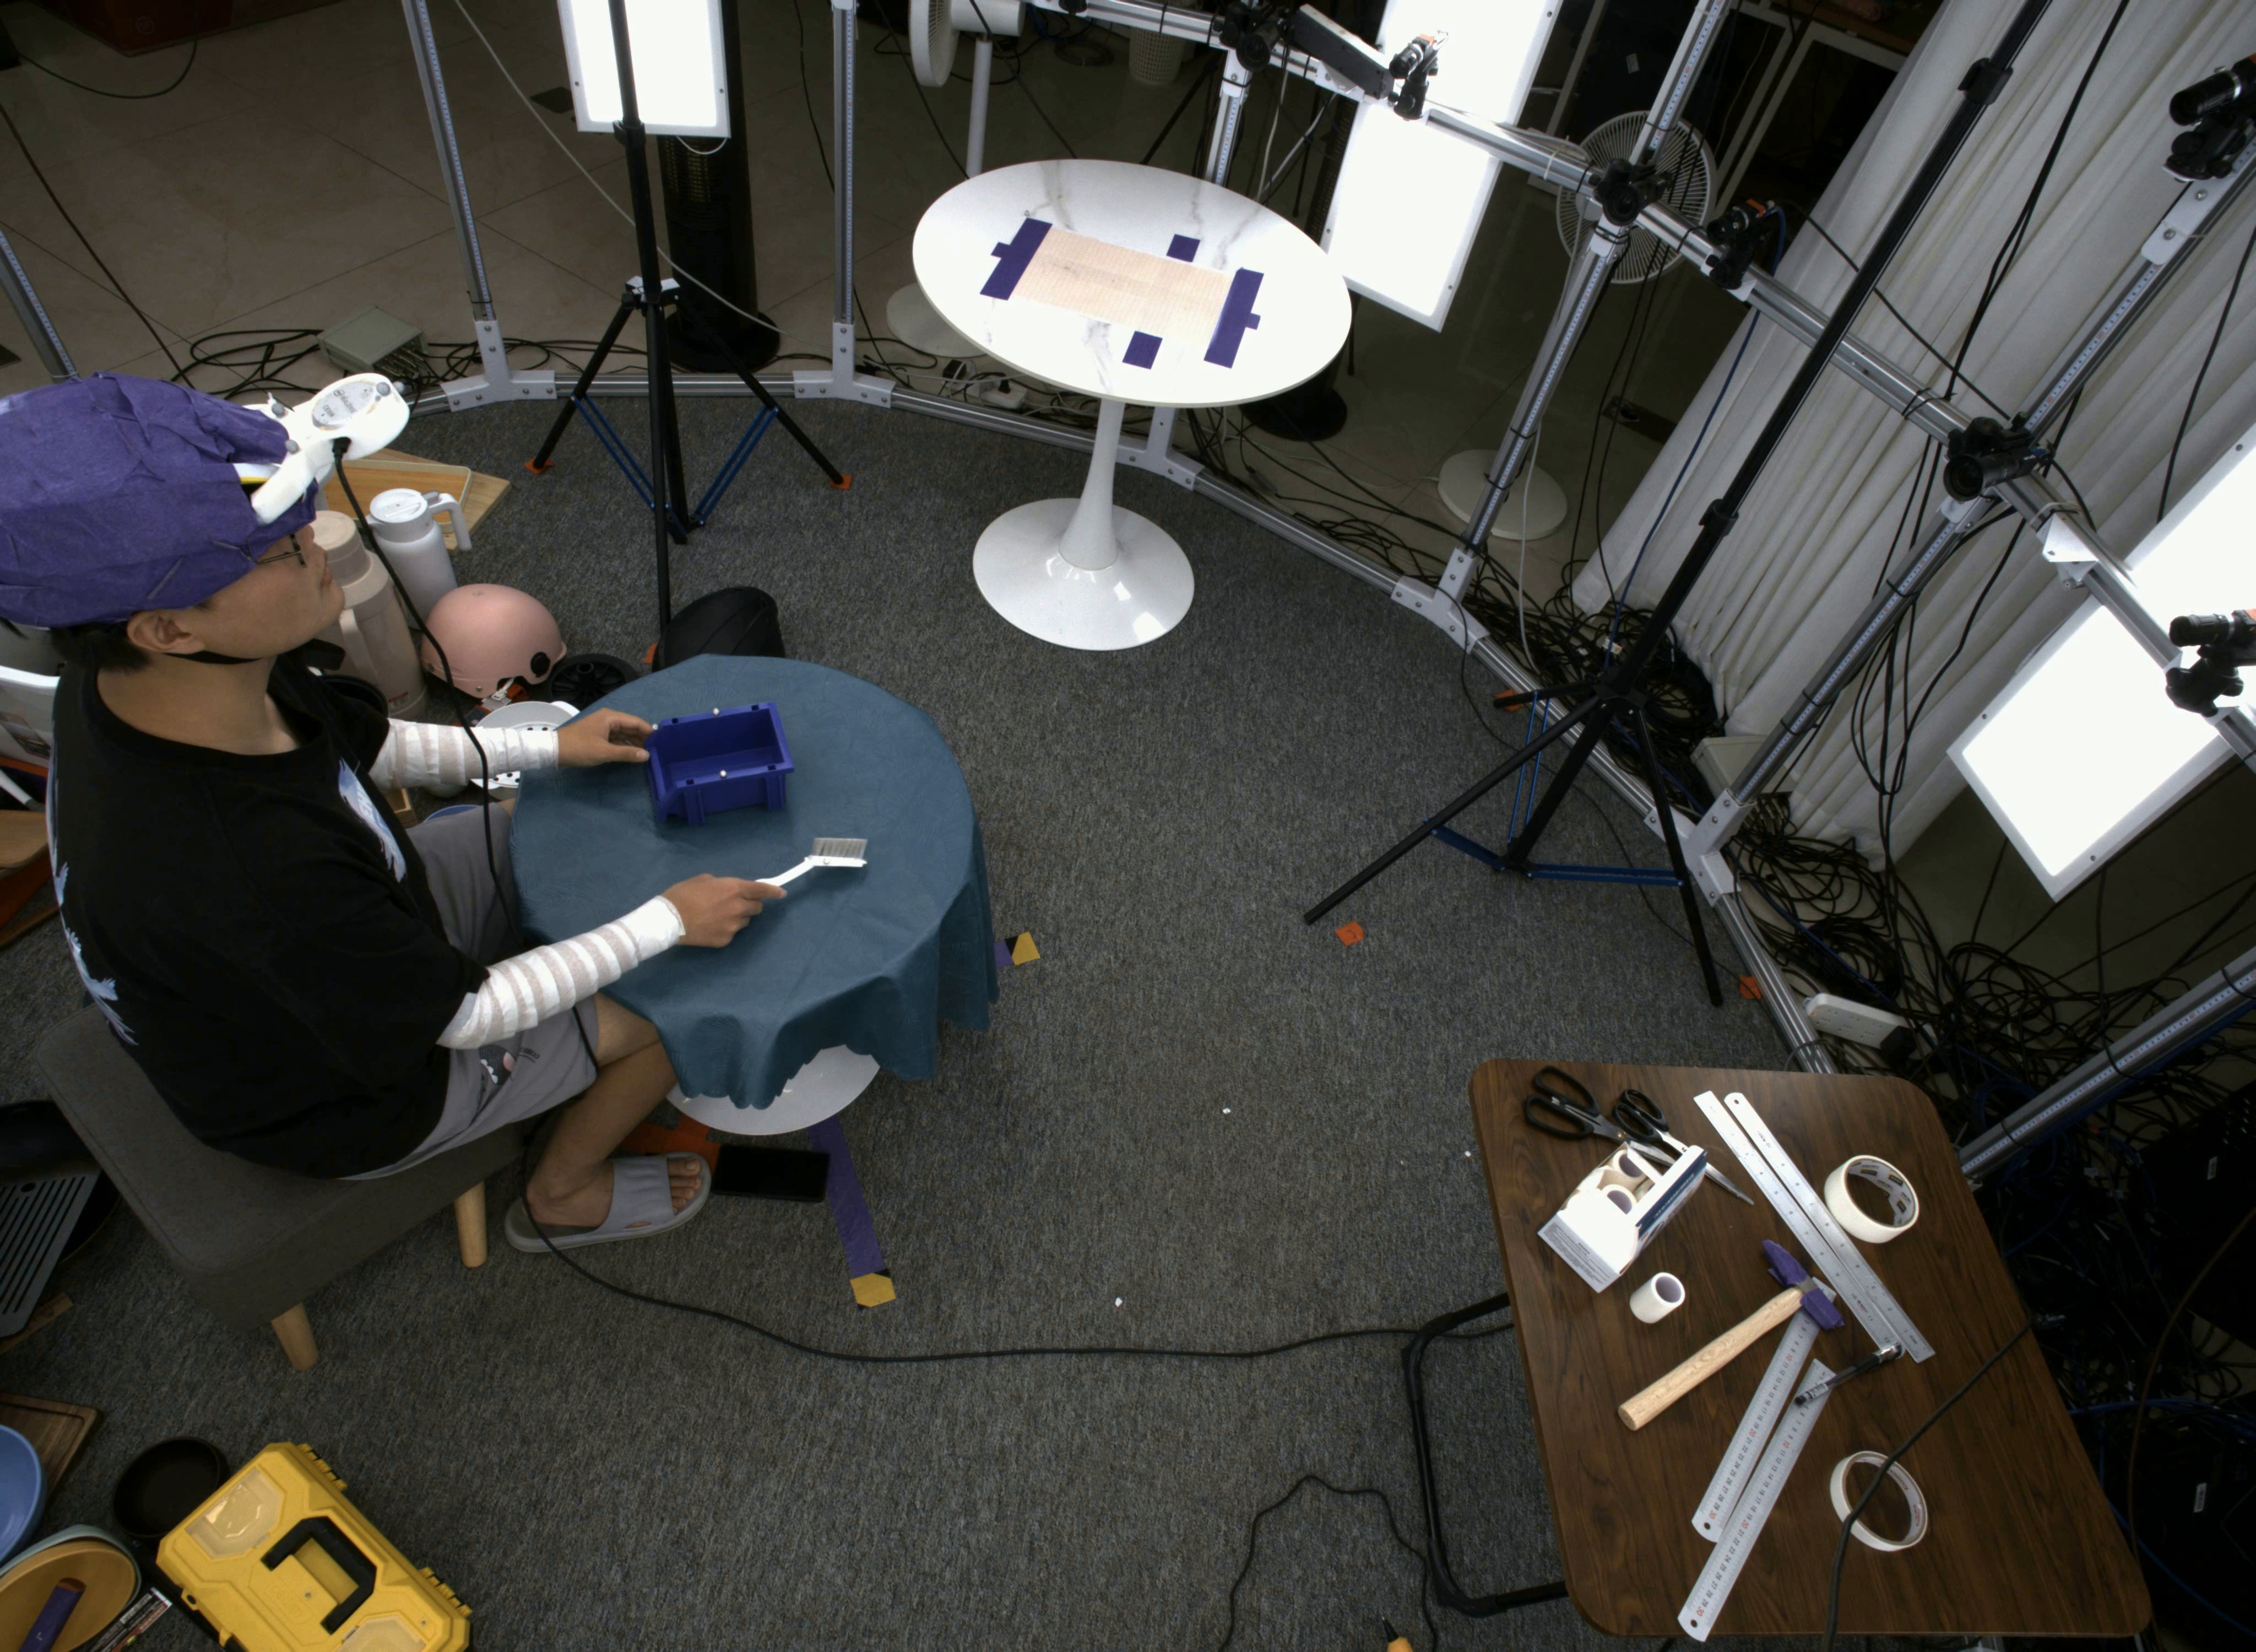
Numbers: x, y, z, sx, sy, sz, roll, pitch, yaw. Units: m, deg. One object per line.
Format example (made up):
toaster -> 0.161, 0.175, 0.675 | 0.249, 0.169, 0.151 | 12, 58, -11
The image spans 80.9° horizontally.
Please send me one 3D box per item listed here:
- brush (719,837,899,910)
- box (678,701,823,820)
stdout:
brush -> -0.406, 0.053, 1.651 | 0.245, 0.033, 0.051 | -16, 103, -30
box -> -0.506, -0.085, 1.725 | 0.180, 0.083, 0.121 | -8, 56, -20
